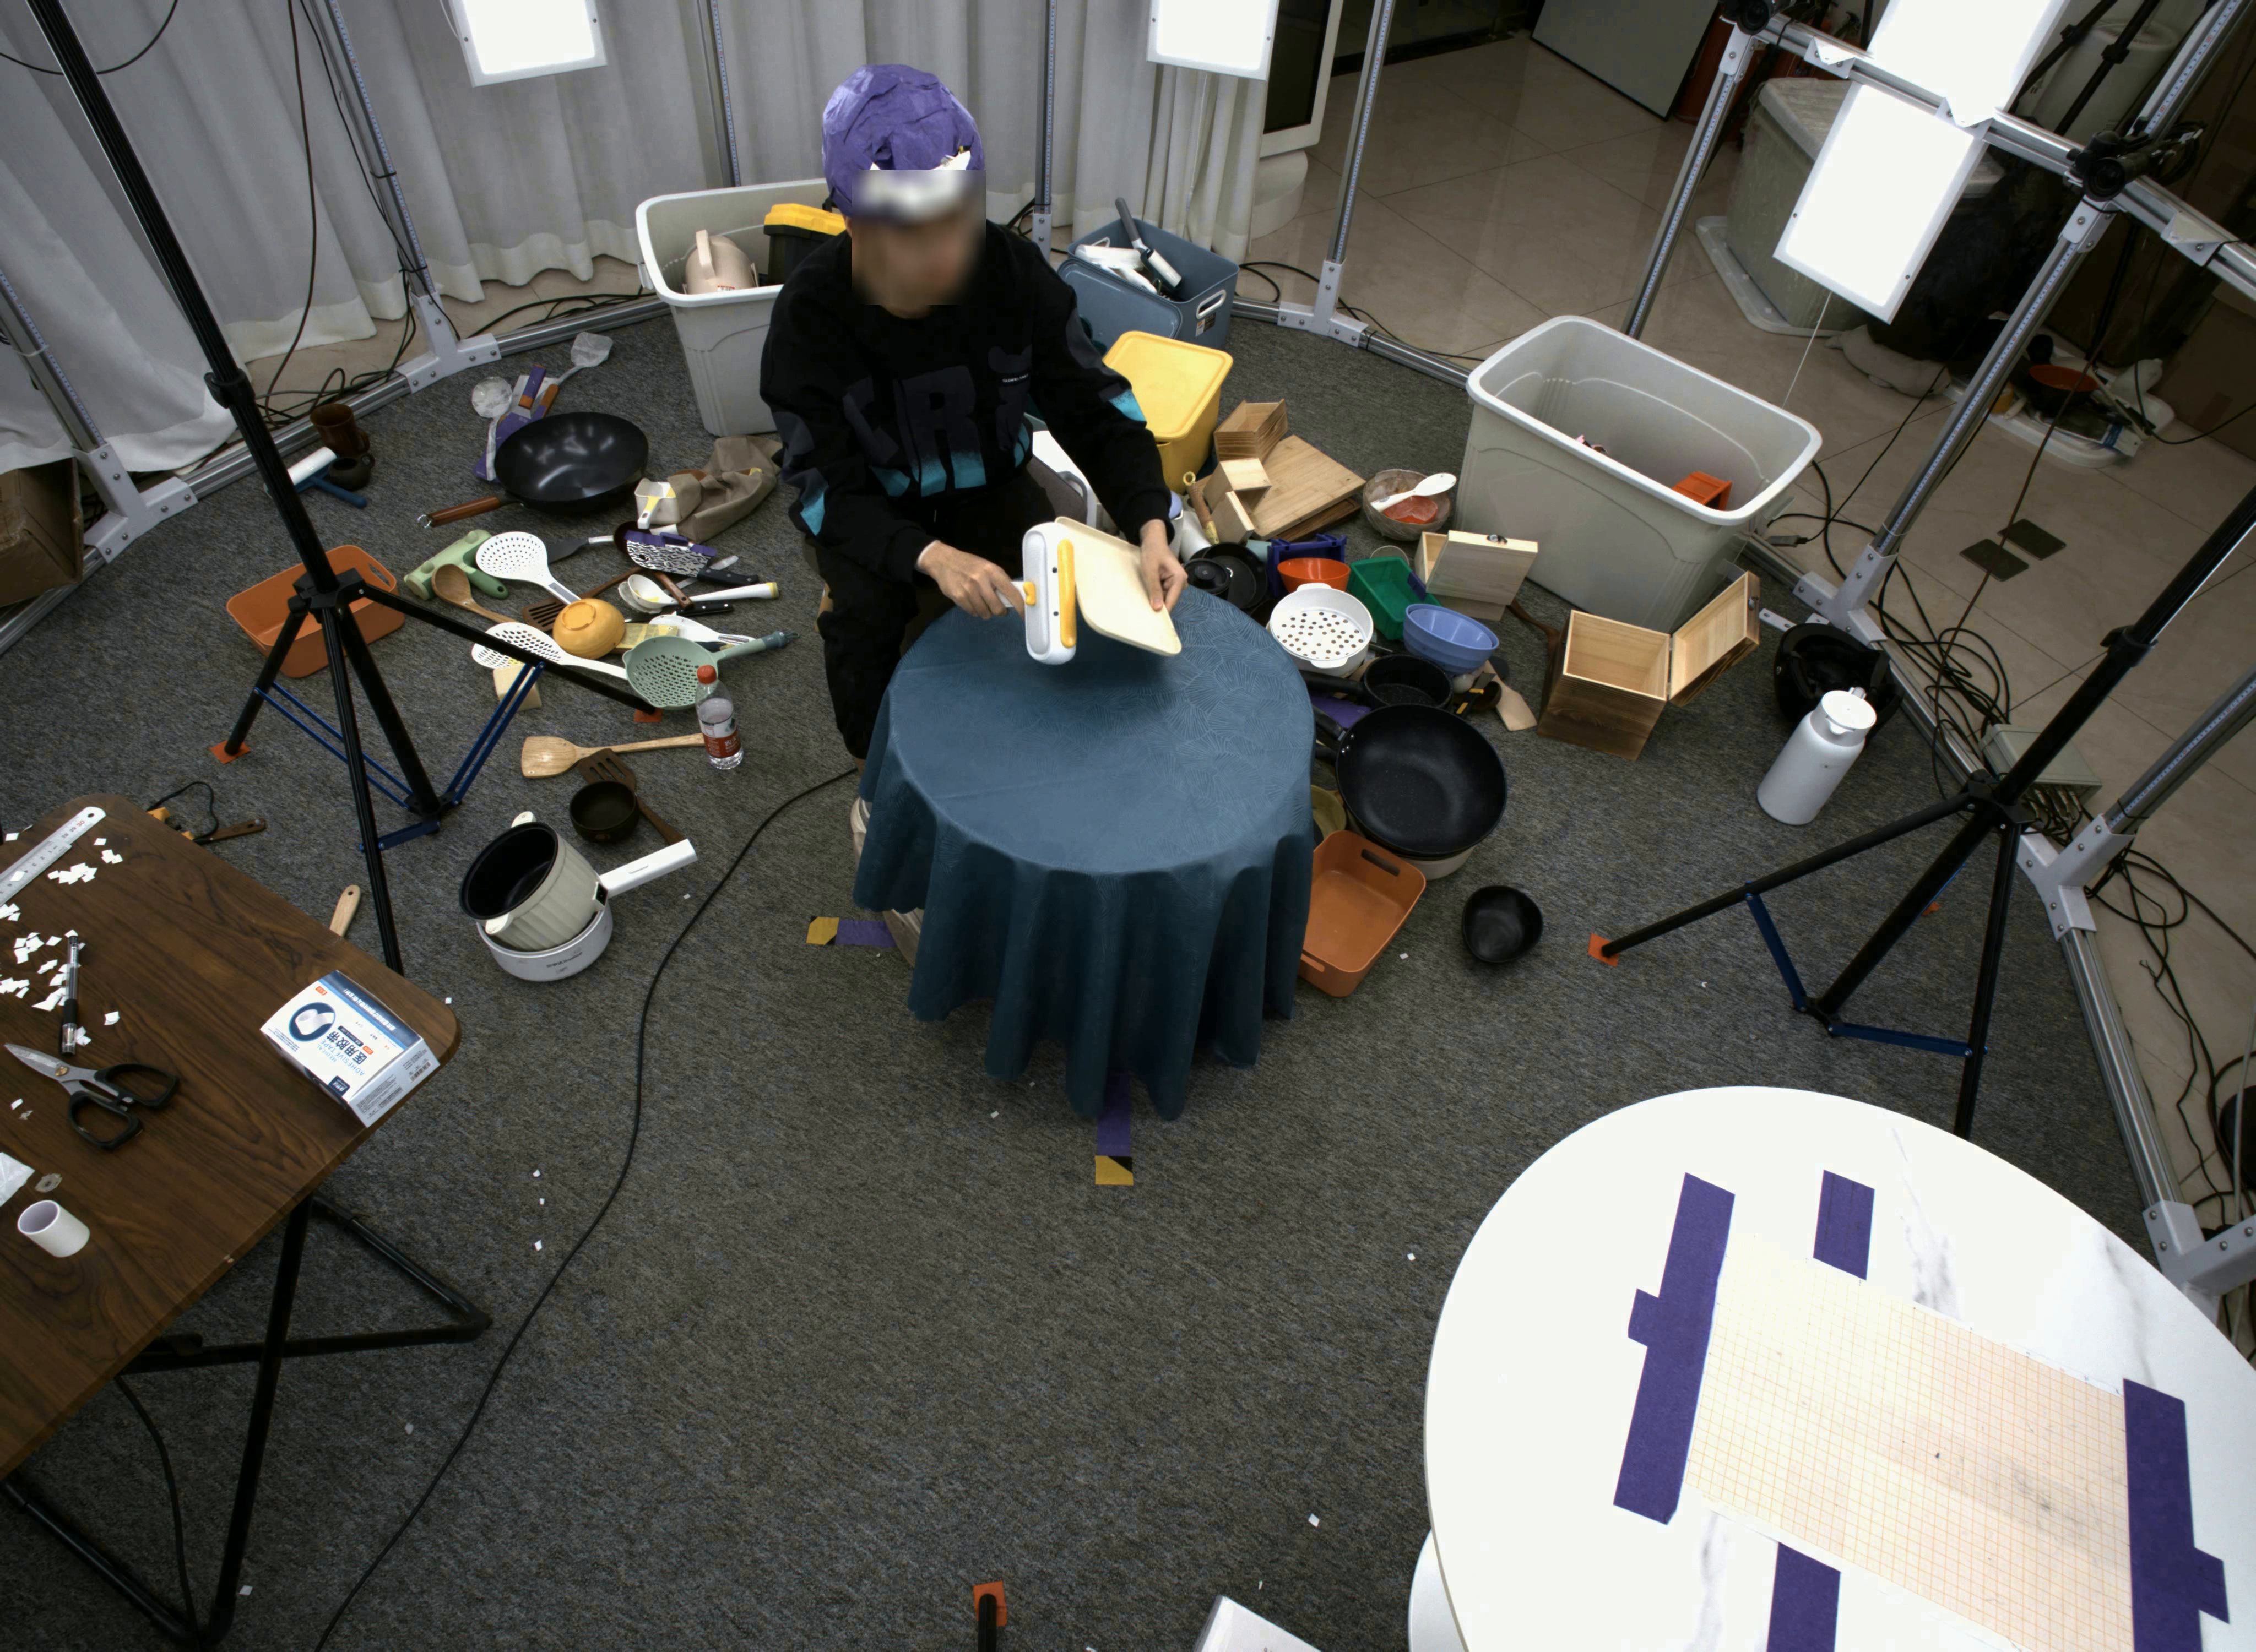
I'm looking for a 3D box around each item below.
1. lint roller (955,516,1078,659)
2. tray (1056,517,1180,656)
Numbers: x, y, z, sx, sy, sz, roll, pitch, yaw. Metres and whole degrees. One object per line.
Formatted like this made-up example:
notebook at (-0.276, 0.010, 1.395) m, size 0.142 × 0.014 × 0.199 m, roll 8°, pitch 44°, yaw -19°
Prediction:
lint roller at (-0.157, -0.325, 1.797) m, size 0.193 × 0.191 × 0.074 m, roll 0°, pitch 12°, yaw 41°
tray at (-0.020, -0.340, 1.835) m, size 0.169 × 0.017 × 0.245 m, roll 14°, pitch 43°, yaw -35°
